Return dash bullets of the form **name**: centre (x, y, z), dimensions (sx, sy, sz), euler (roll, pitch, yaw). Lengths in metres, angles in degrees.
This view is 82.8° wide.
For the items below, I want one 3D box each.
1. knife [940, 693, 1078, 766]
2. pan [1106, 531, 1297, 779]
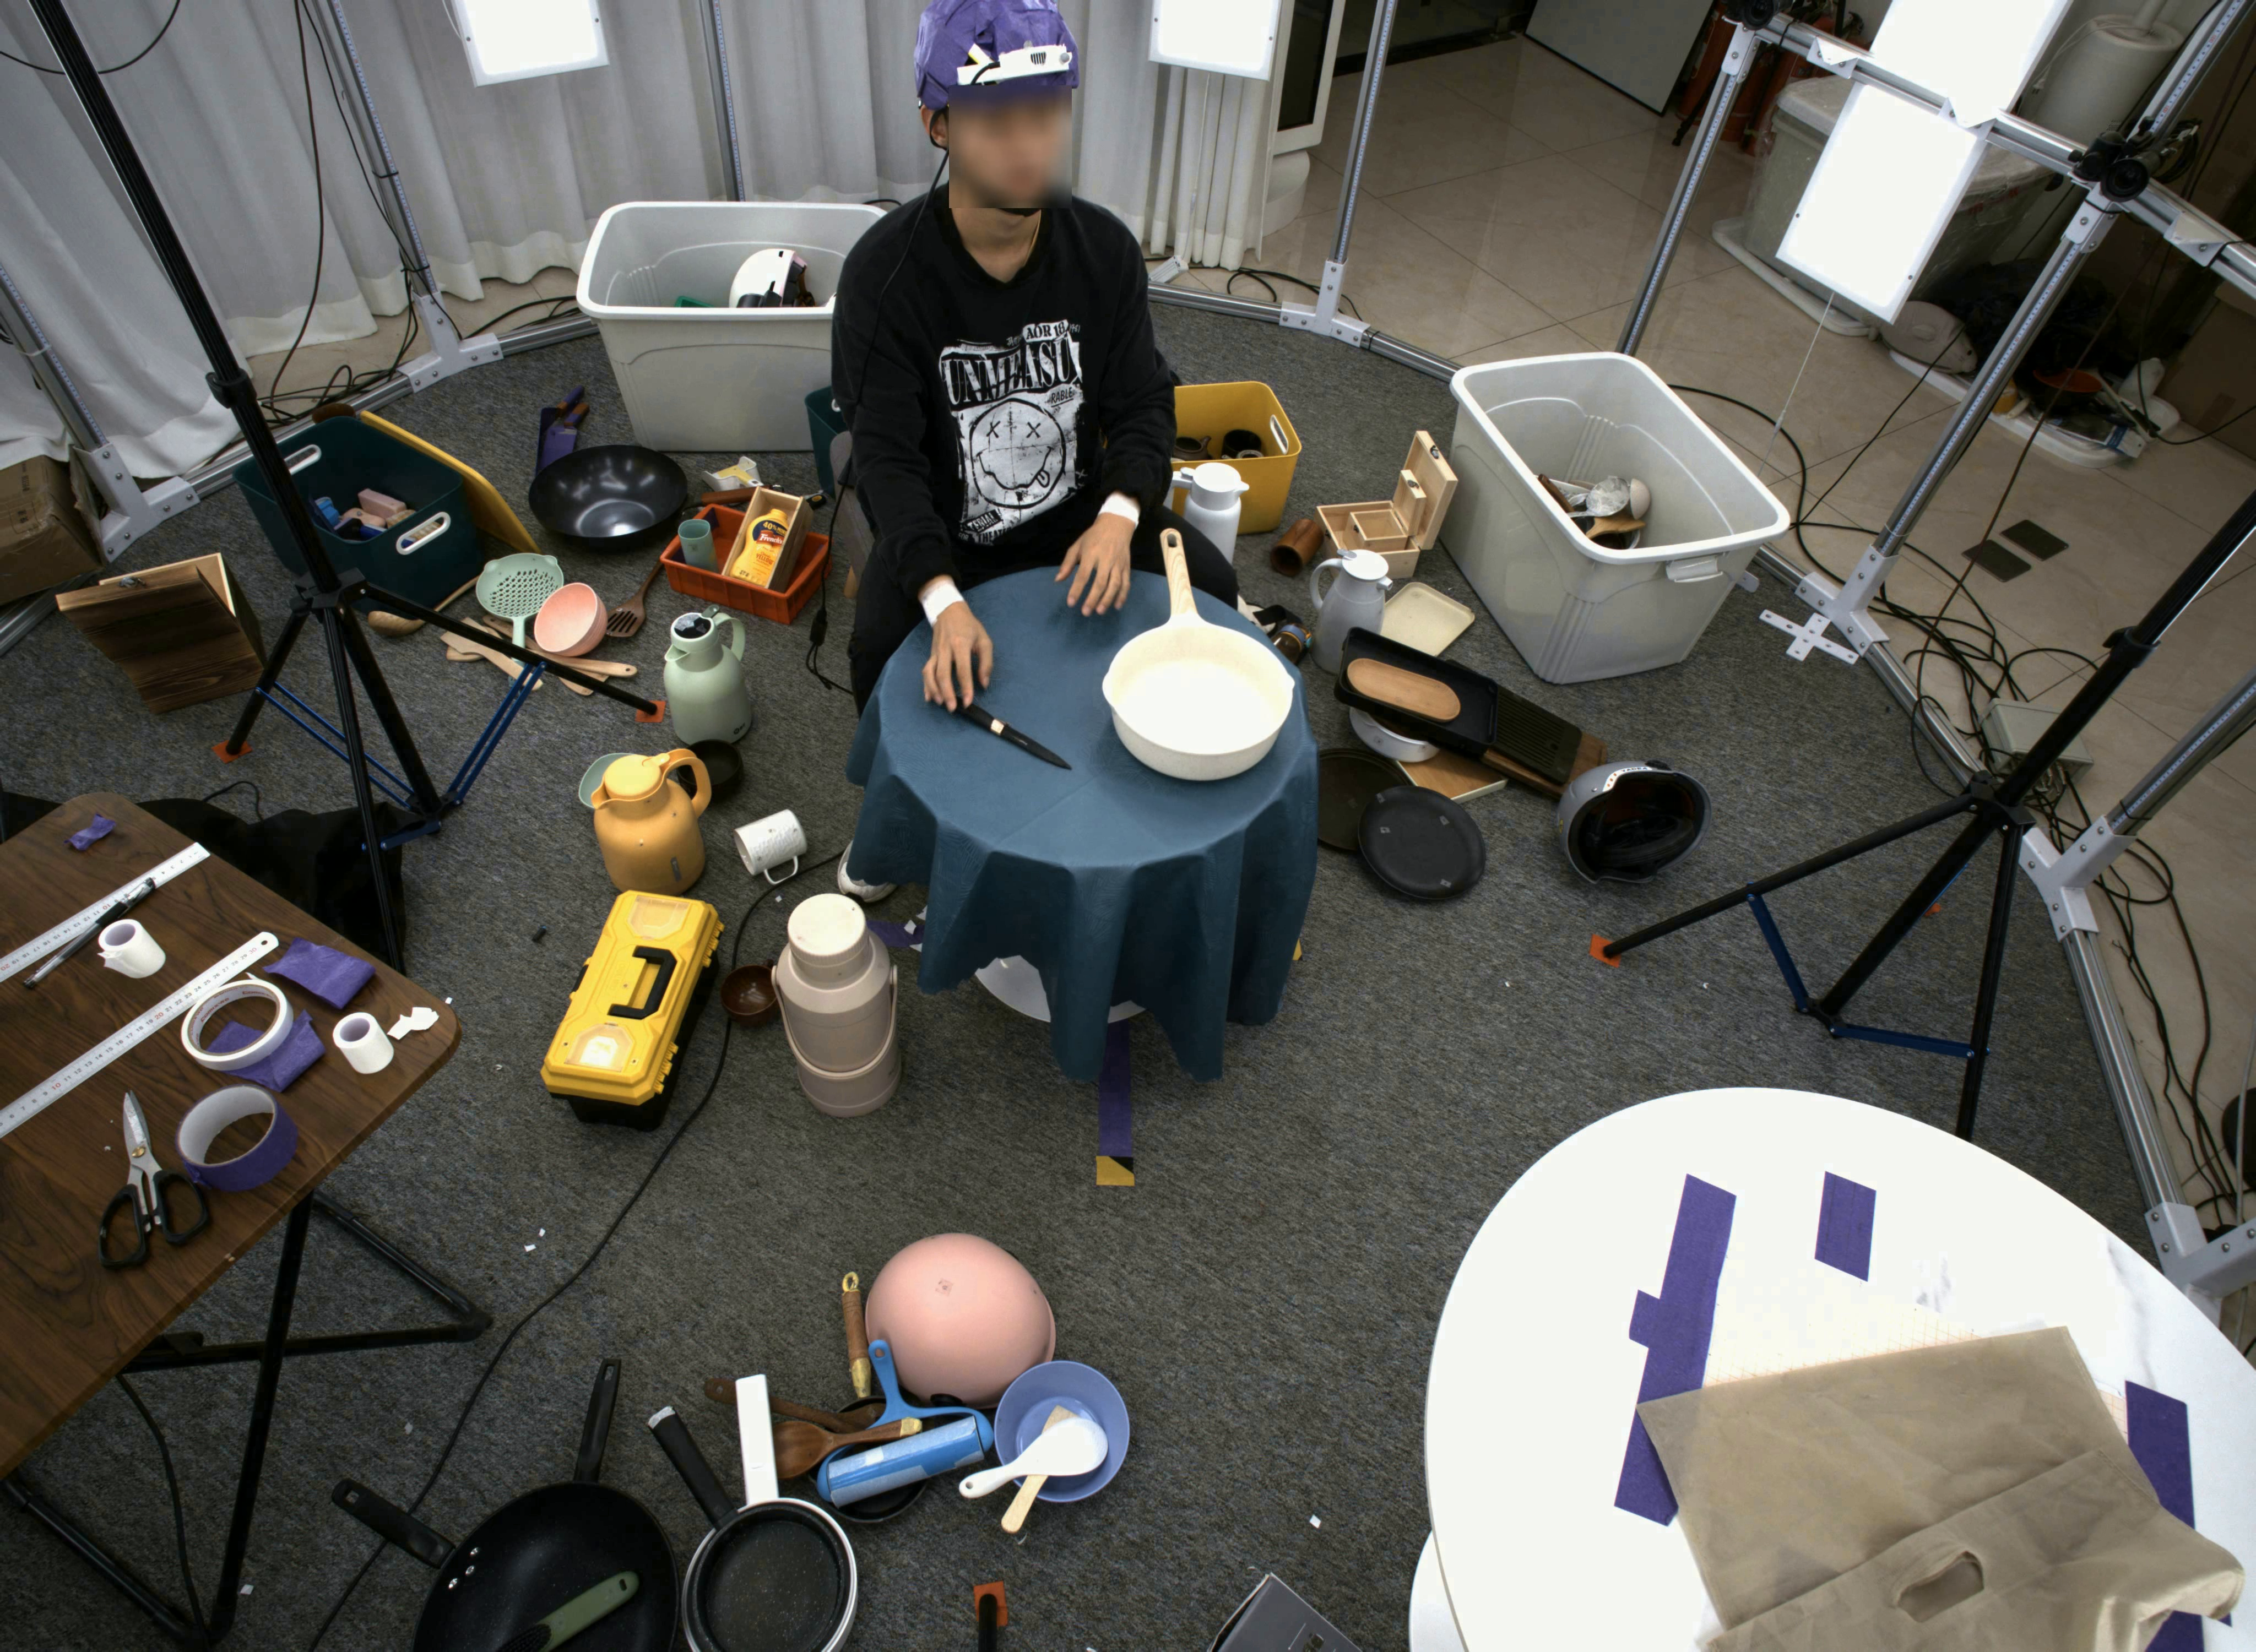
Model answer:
- **knife**: centre (-0.165, -0.131, 1.767), dimensions (0.227, 0.017, 0.026), euler (29, 37, 19)
- **pan**: centre (0.088, -0.242, 1.821), dimensions (0.263, 0.099, 0.446), euler (-5, 50, -6)
